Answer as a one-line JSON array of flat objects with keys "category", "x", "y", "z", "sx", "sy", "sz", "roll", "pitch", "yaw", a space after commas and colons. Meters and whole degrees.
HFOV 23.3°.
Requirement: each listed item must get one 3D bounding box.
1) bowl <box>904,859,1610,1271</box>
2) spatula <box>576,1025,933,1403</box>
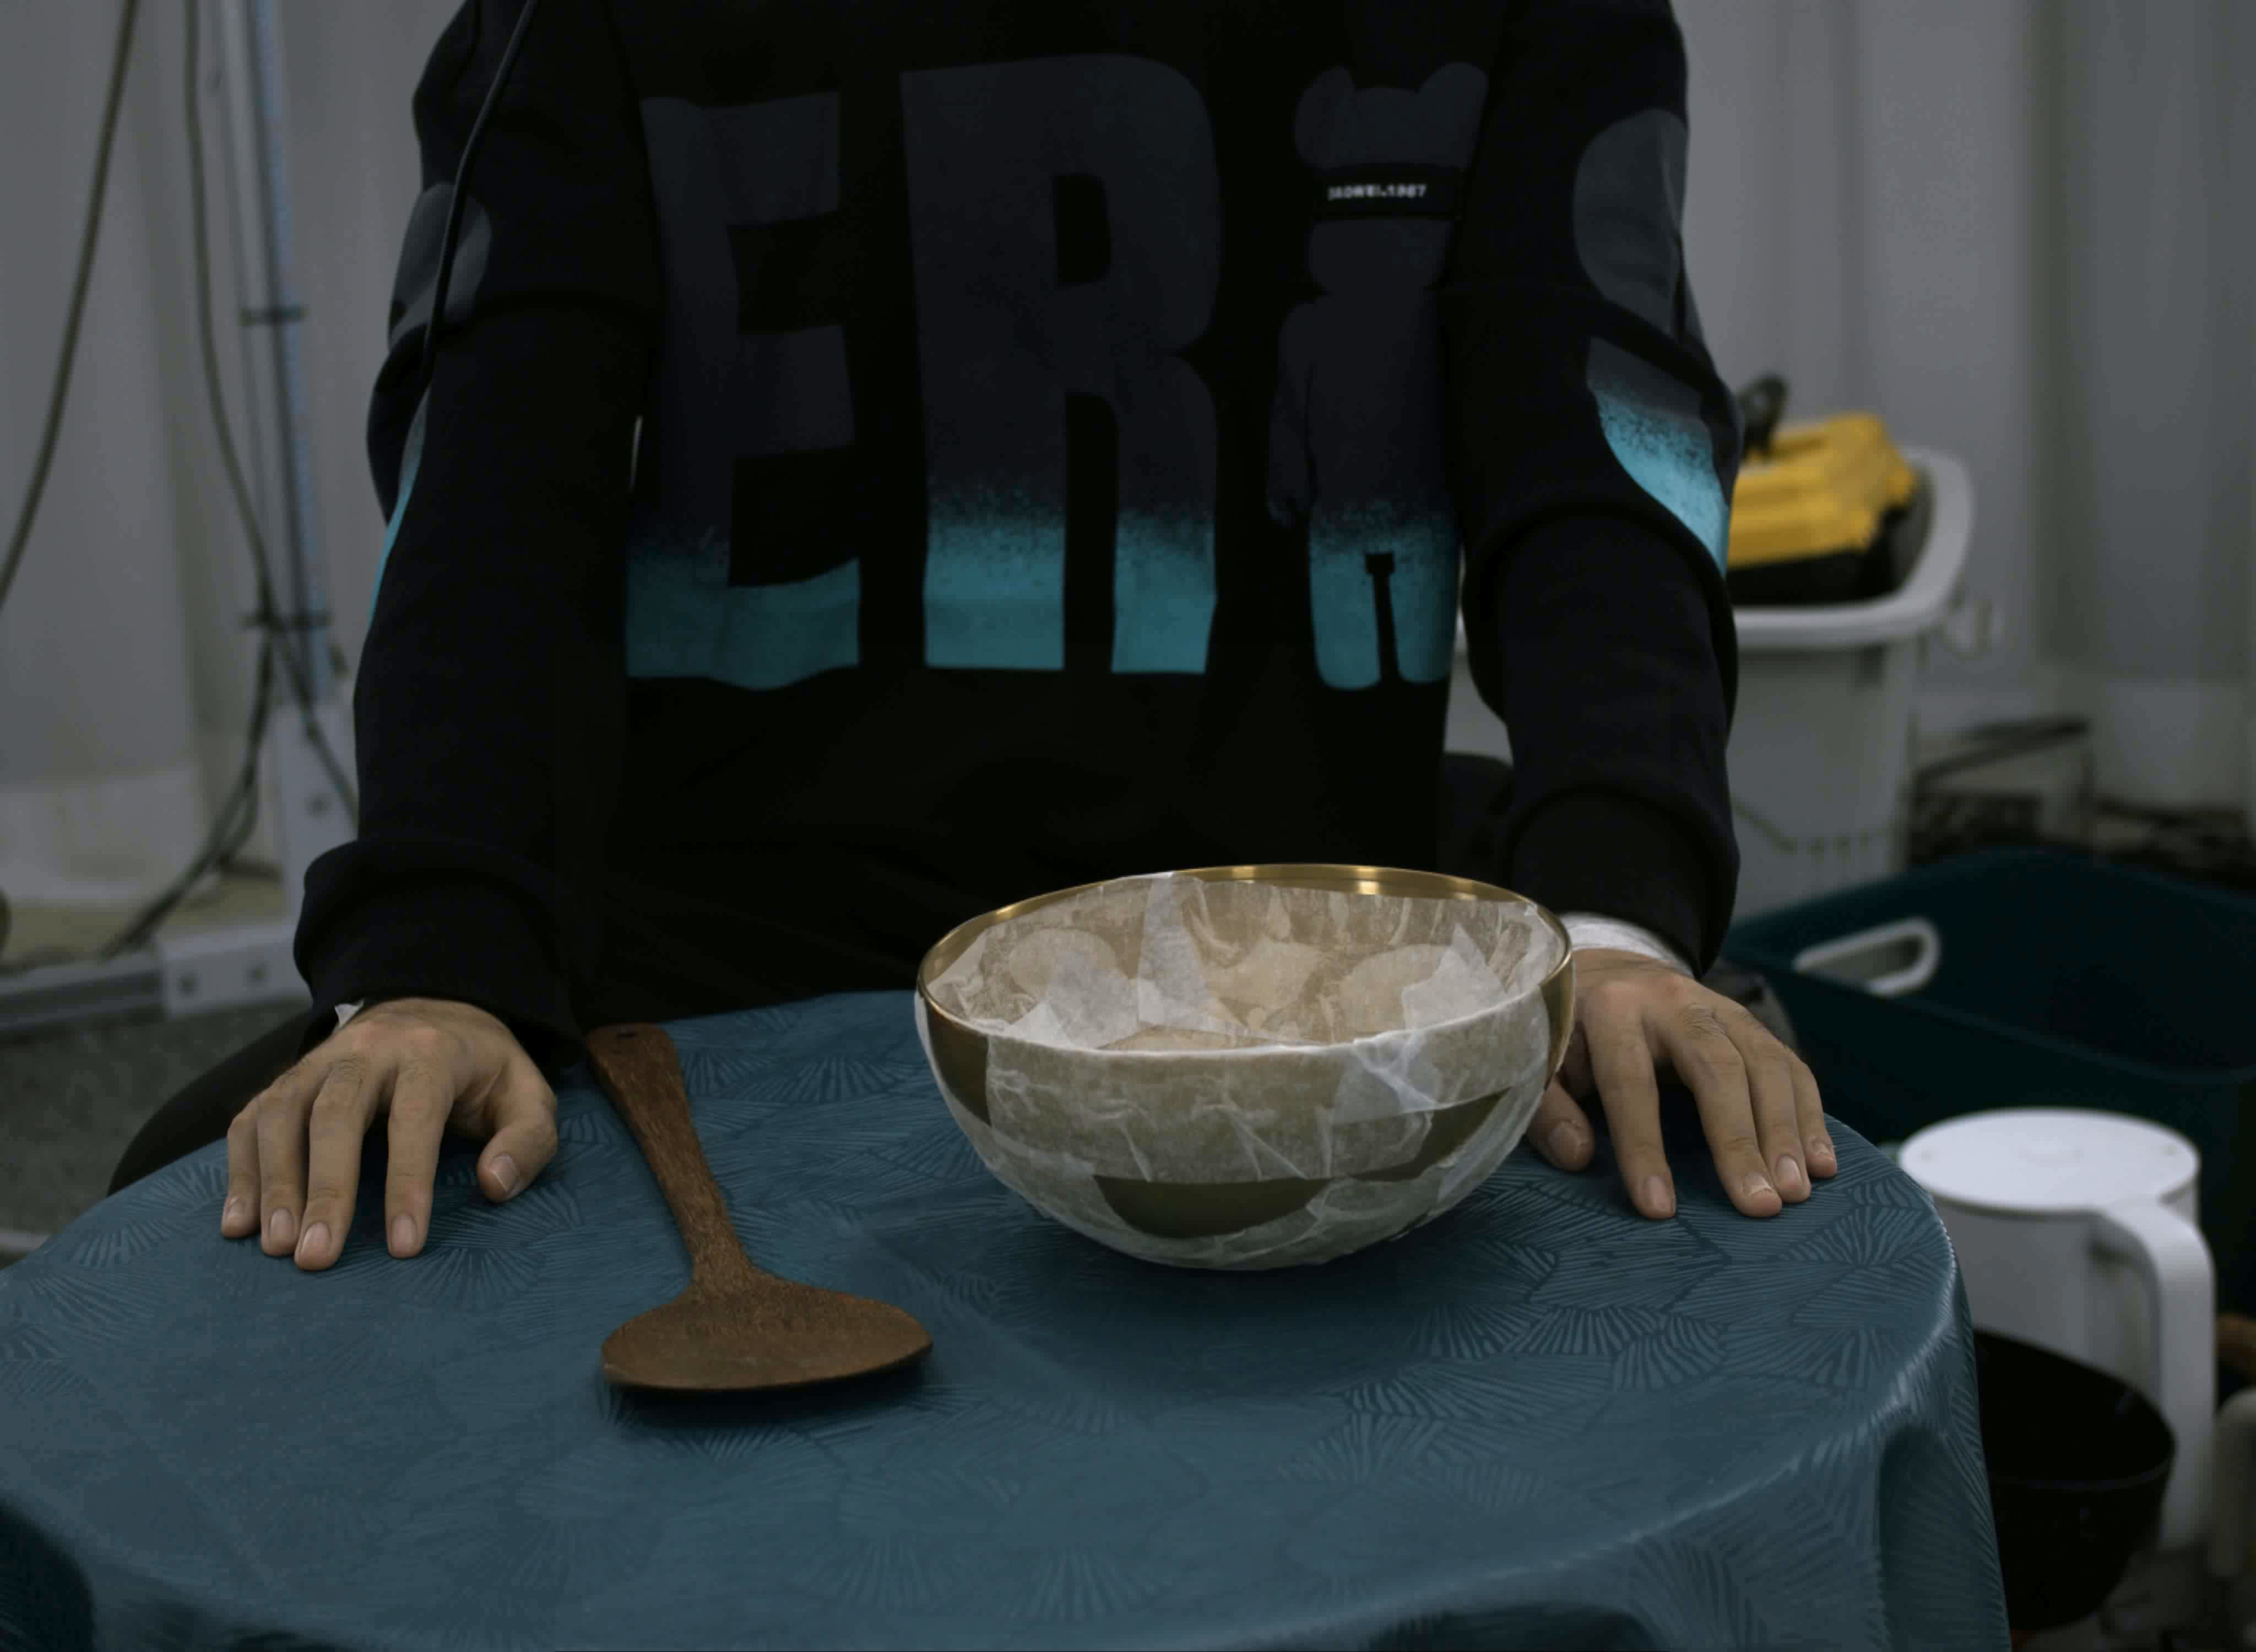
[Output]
[{"category": "bowl", "x": 0.039, "y": 0.080, "z": 1.659, "sx": 0.214, "sy": 0.094, "sz": 0.216, "roll": -4, "pitch": 13, "yaw": 1}, {"category": "spatula", "x": -0.137, "y": 0.115, "z": 1.713, "sx": 0.095, "sy": 0.016, "sz": 0.389, "roll": -5, "pitch": 15, "yaw": -11}]
